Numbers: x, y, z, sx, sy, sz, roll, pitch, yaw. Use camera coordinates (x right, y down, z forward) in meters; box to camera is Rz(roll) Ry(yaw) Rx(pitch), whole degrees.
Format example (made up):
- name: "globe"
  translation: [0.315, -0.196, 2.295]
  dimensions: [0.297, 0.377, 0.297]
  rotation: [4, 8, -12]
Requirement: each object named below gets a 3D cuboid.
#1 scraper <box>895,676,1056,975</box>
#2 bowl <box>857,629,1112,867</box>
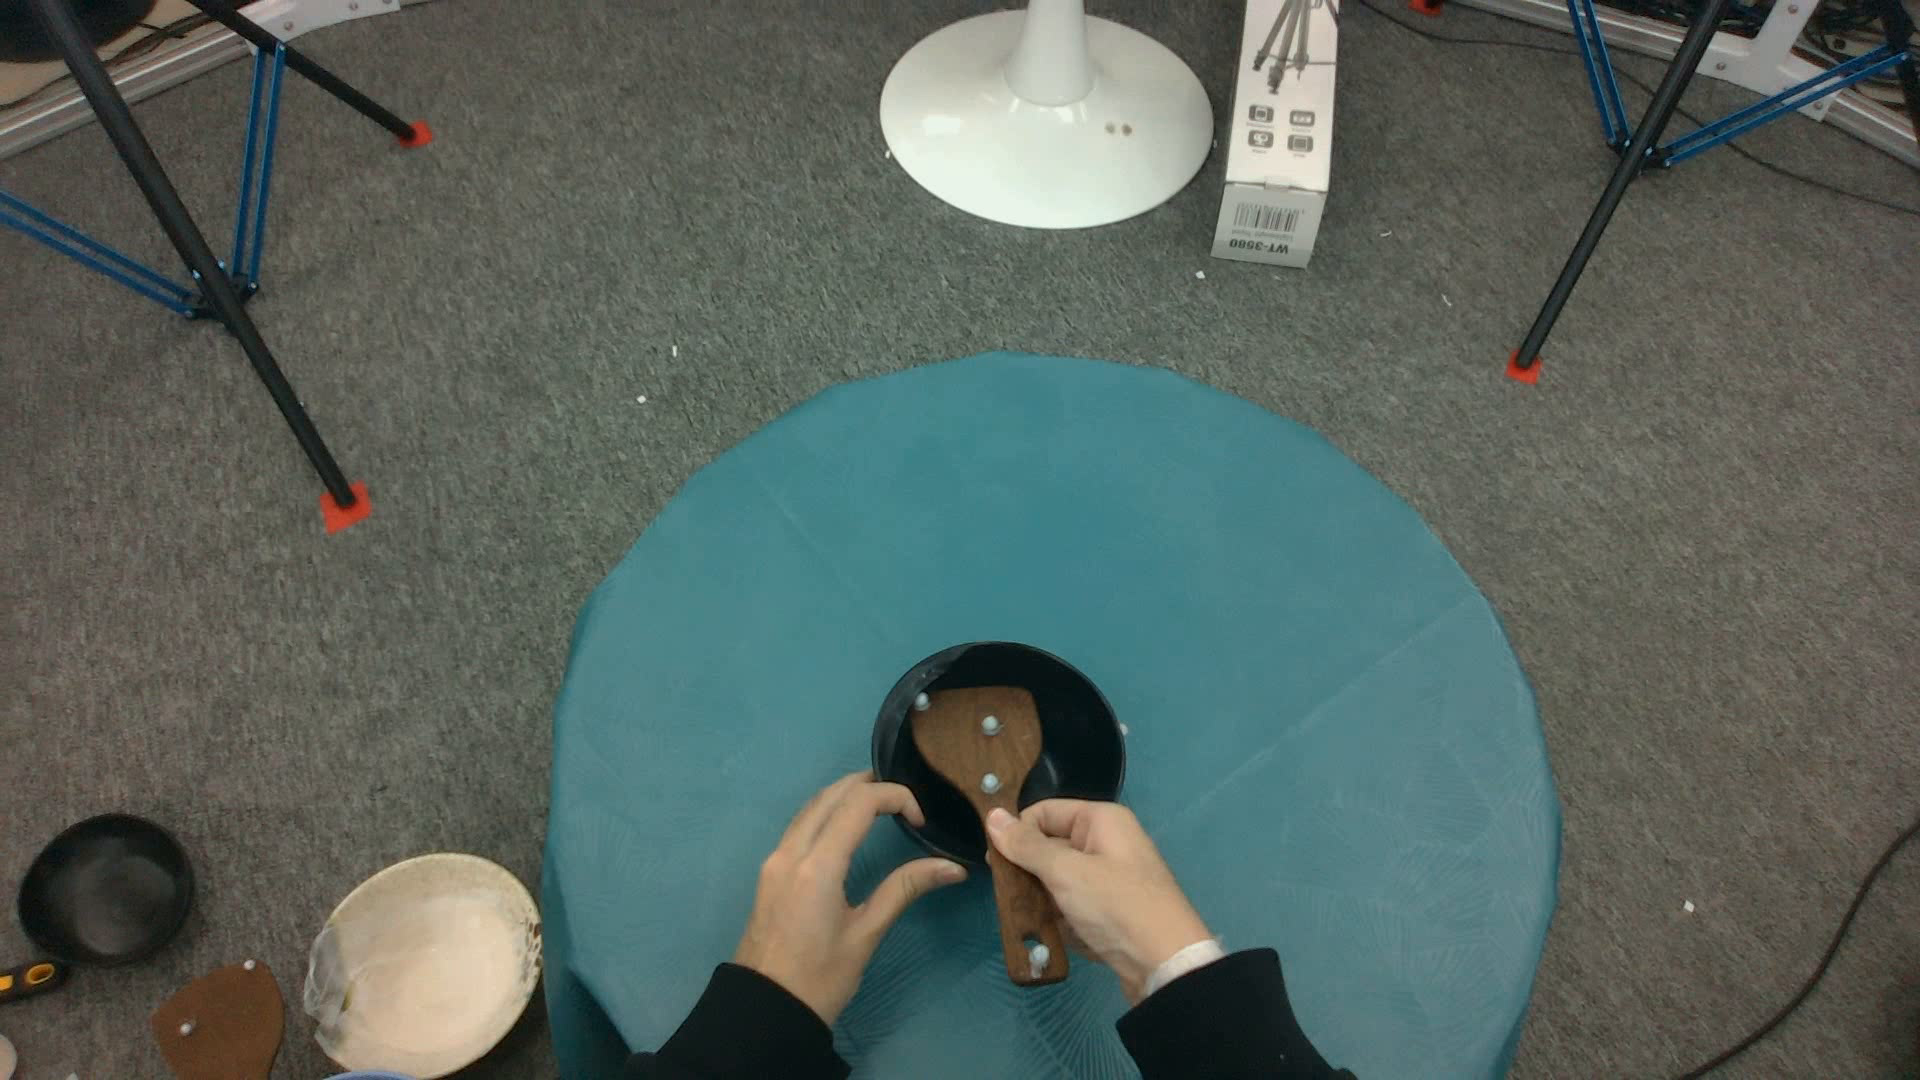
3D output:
- name: "scraper"
  translation: [0.014, 0.137, 0.699]
  dimensions: [0.076, 0.011, 0.212]
  rotation: [-2, 32, -9]
- name: "bowl"
  translation: [0.011, 0.120, 0.759]
  dimensions: [0.140, 0.049, 0.140]
  rotation: [4, 54, -5]
